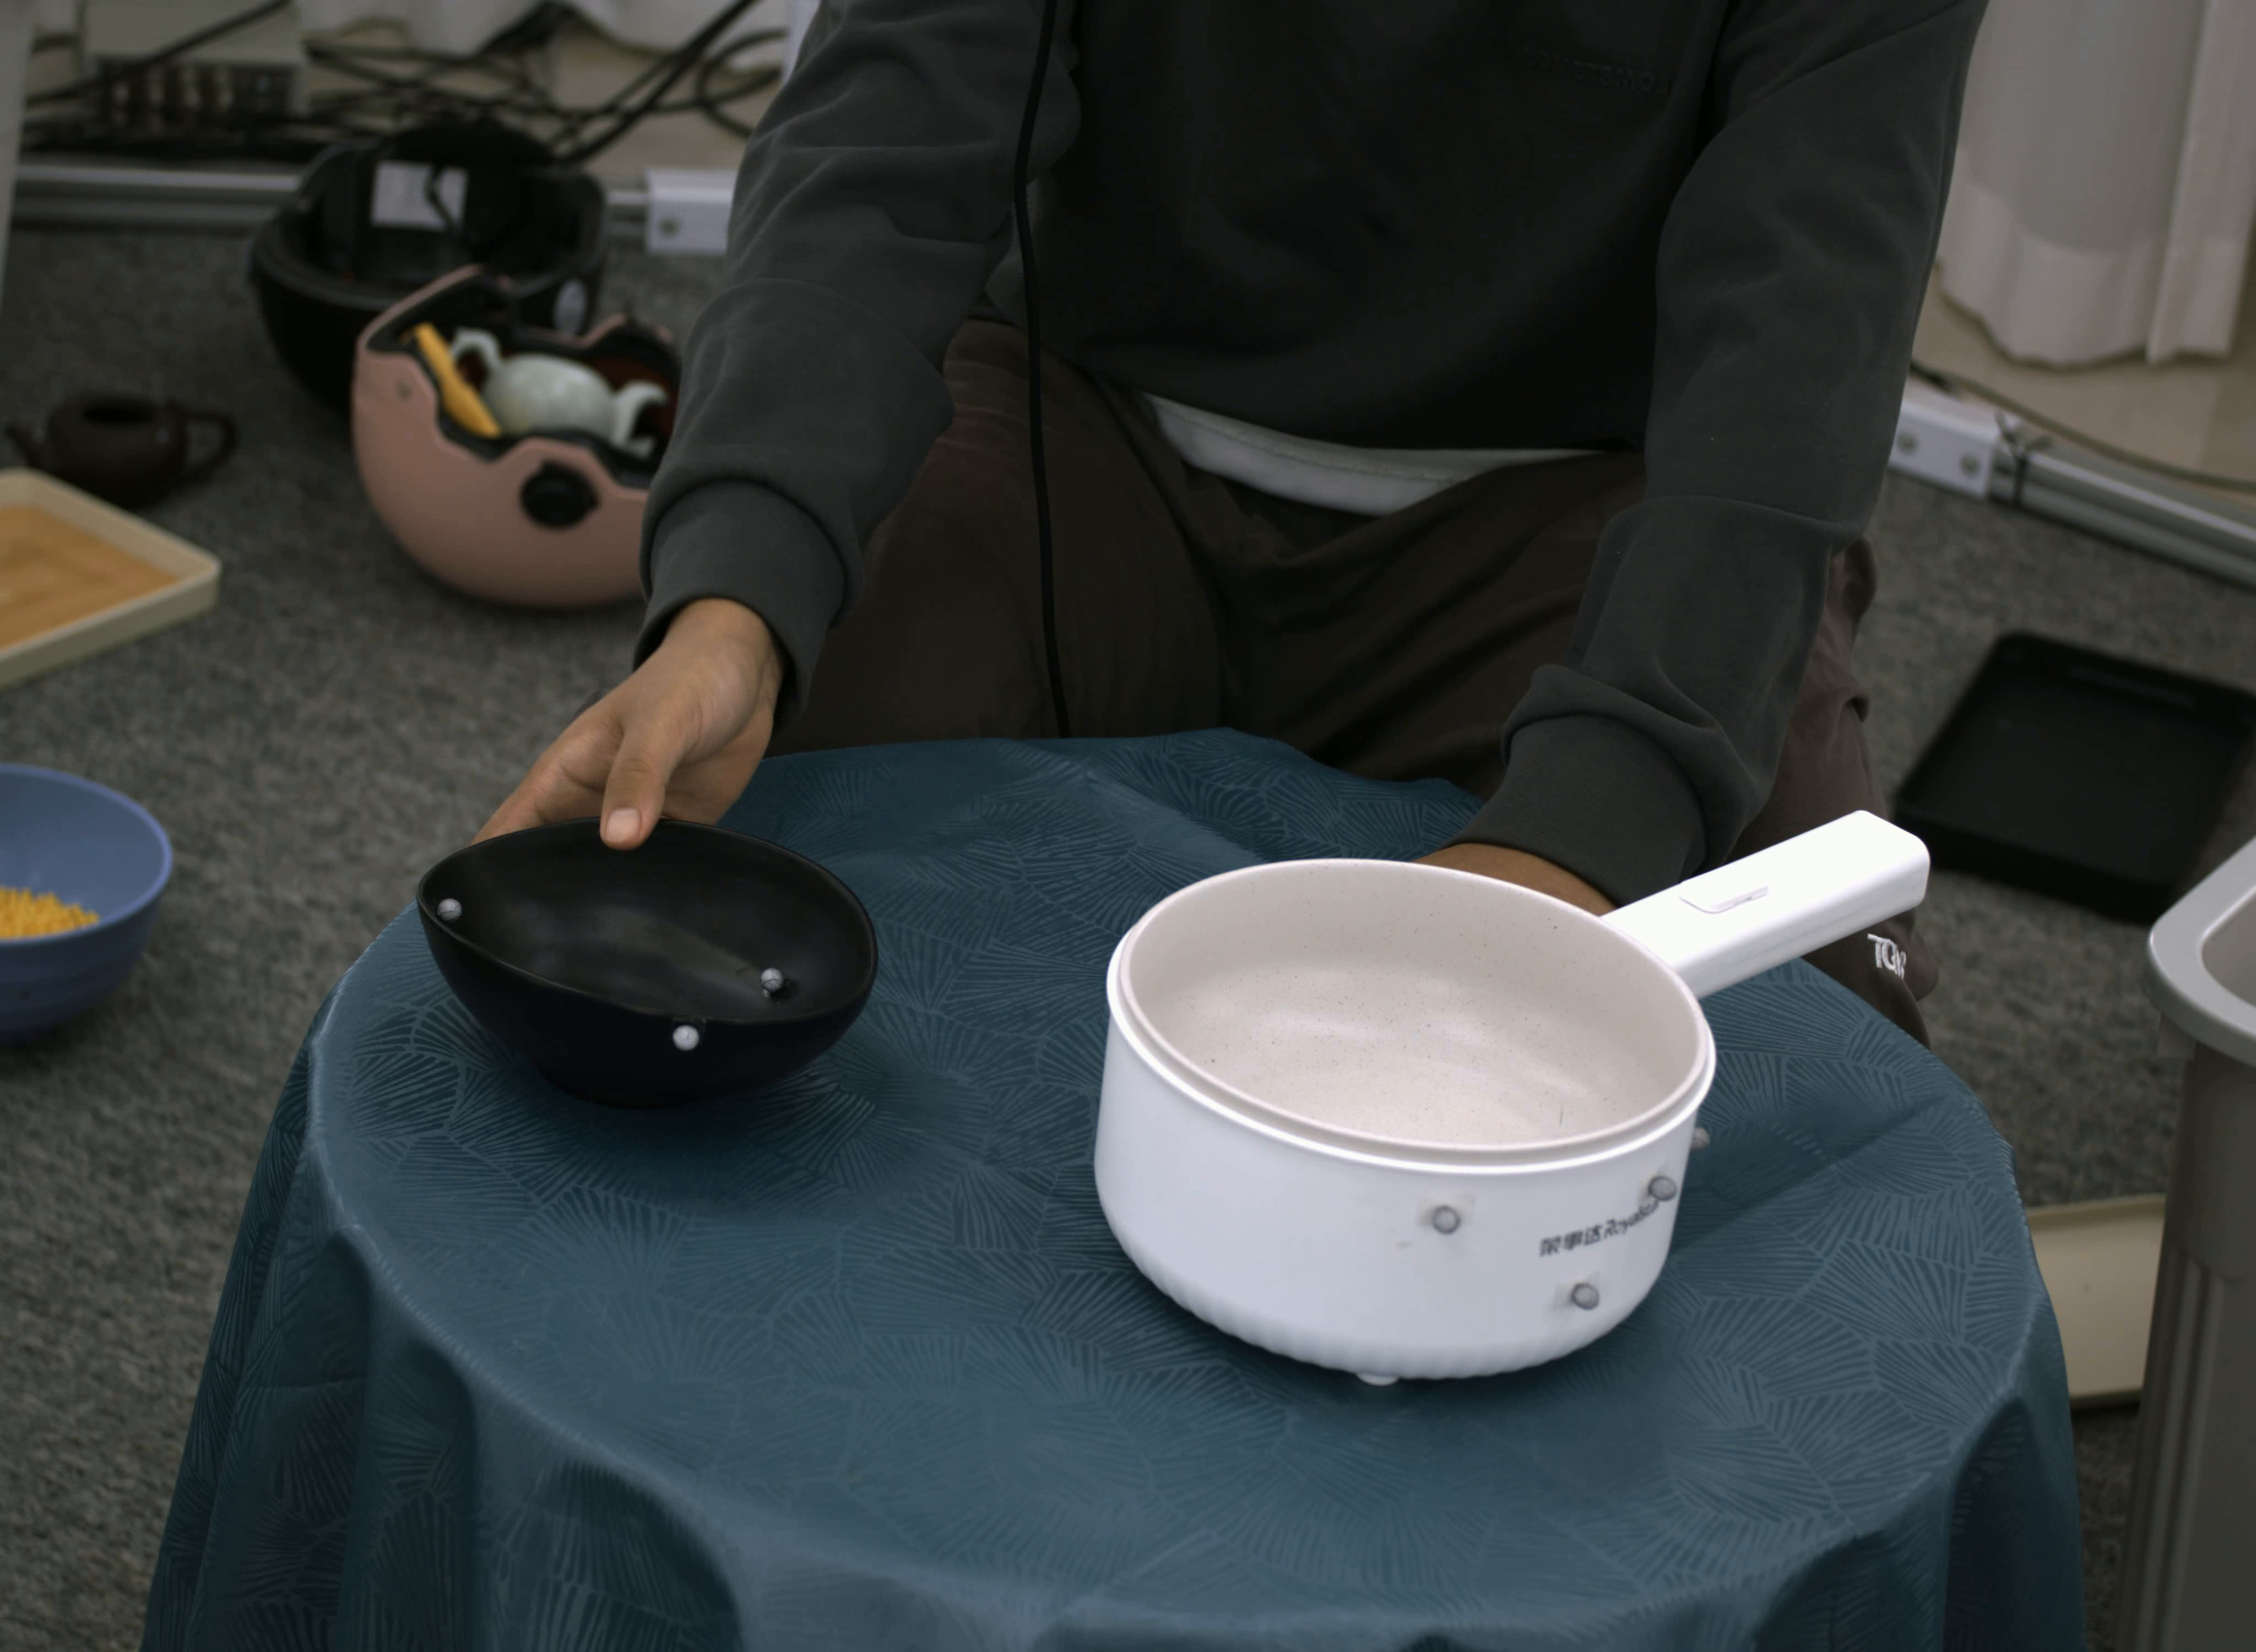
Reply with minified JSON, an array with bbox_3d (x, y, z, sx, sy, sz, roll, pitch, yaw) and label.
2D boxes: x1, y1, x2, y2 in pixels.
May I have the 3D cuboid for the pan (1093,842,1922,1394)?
[{"bbox_3d":[0.141,0.090,1.815,0.353,0.102,0.203,-17,31,-42],"label":"pan"}]

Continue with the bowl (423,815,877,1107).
[{"bbox_3d":[-0.167,0.054,1.832,0.171,0.066,0.137,19,29,26],"label":"bowl"}]
